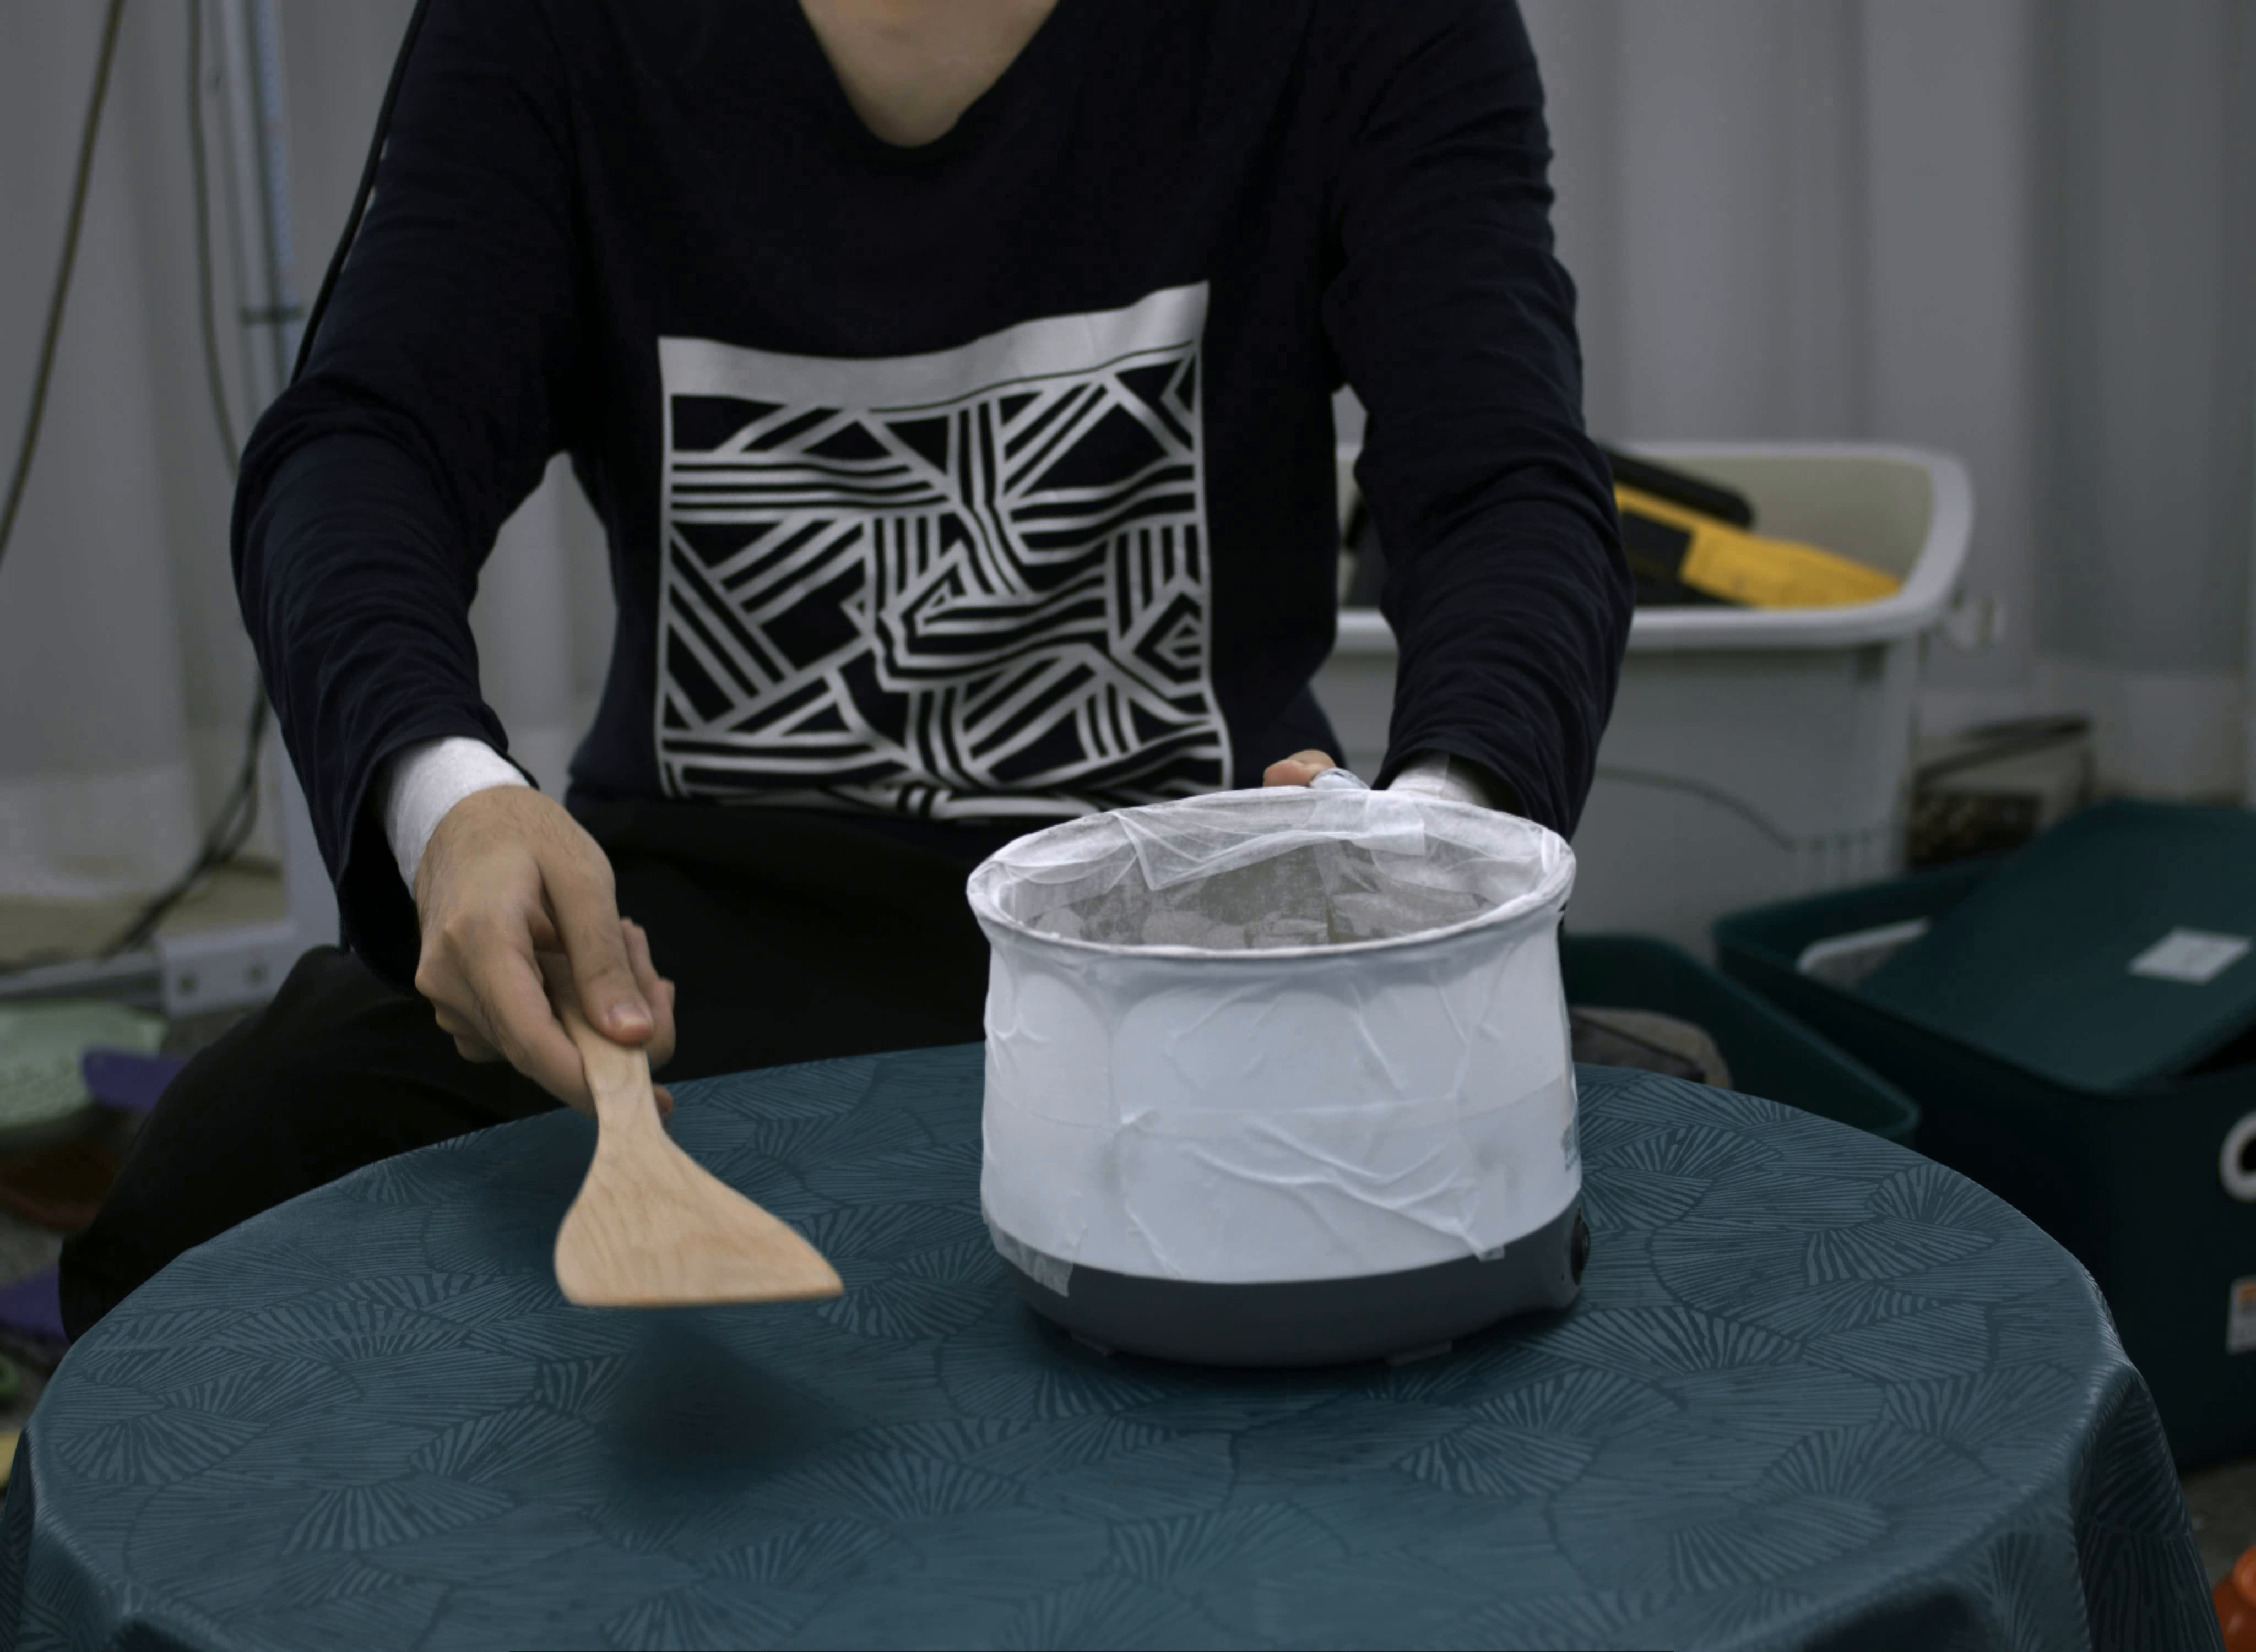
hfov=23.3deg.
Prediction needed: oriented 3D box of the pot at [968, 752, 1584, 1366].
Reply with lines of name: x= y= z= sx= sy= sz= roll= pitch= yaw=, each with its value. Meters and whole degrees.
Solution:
pot: x=0.049 y=0.063 z=1.625 sx=0.178 sy=0.136 sz=0.235 roll=1 pitch=16 yaw=11

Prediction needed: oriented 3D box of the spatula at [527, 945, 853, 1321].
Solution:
spatula: x=-0.146 y=0.088 z=1.631 sx=0.079 sy=0.016 sz=0.331 roll=2 pitch=18 yaw=-14
